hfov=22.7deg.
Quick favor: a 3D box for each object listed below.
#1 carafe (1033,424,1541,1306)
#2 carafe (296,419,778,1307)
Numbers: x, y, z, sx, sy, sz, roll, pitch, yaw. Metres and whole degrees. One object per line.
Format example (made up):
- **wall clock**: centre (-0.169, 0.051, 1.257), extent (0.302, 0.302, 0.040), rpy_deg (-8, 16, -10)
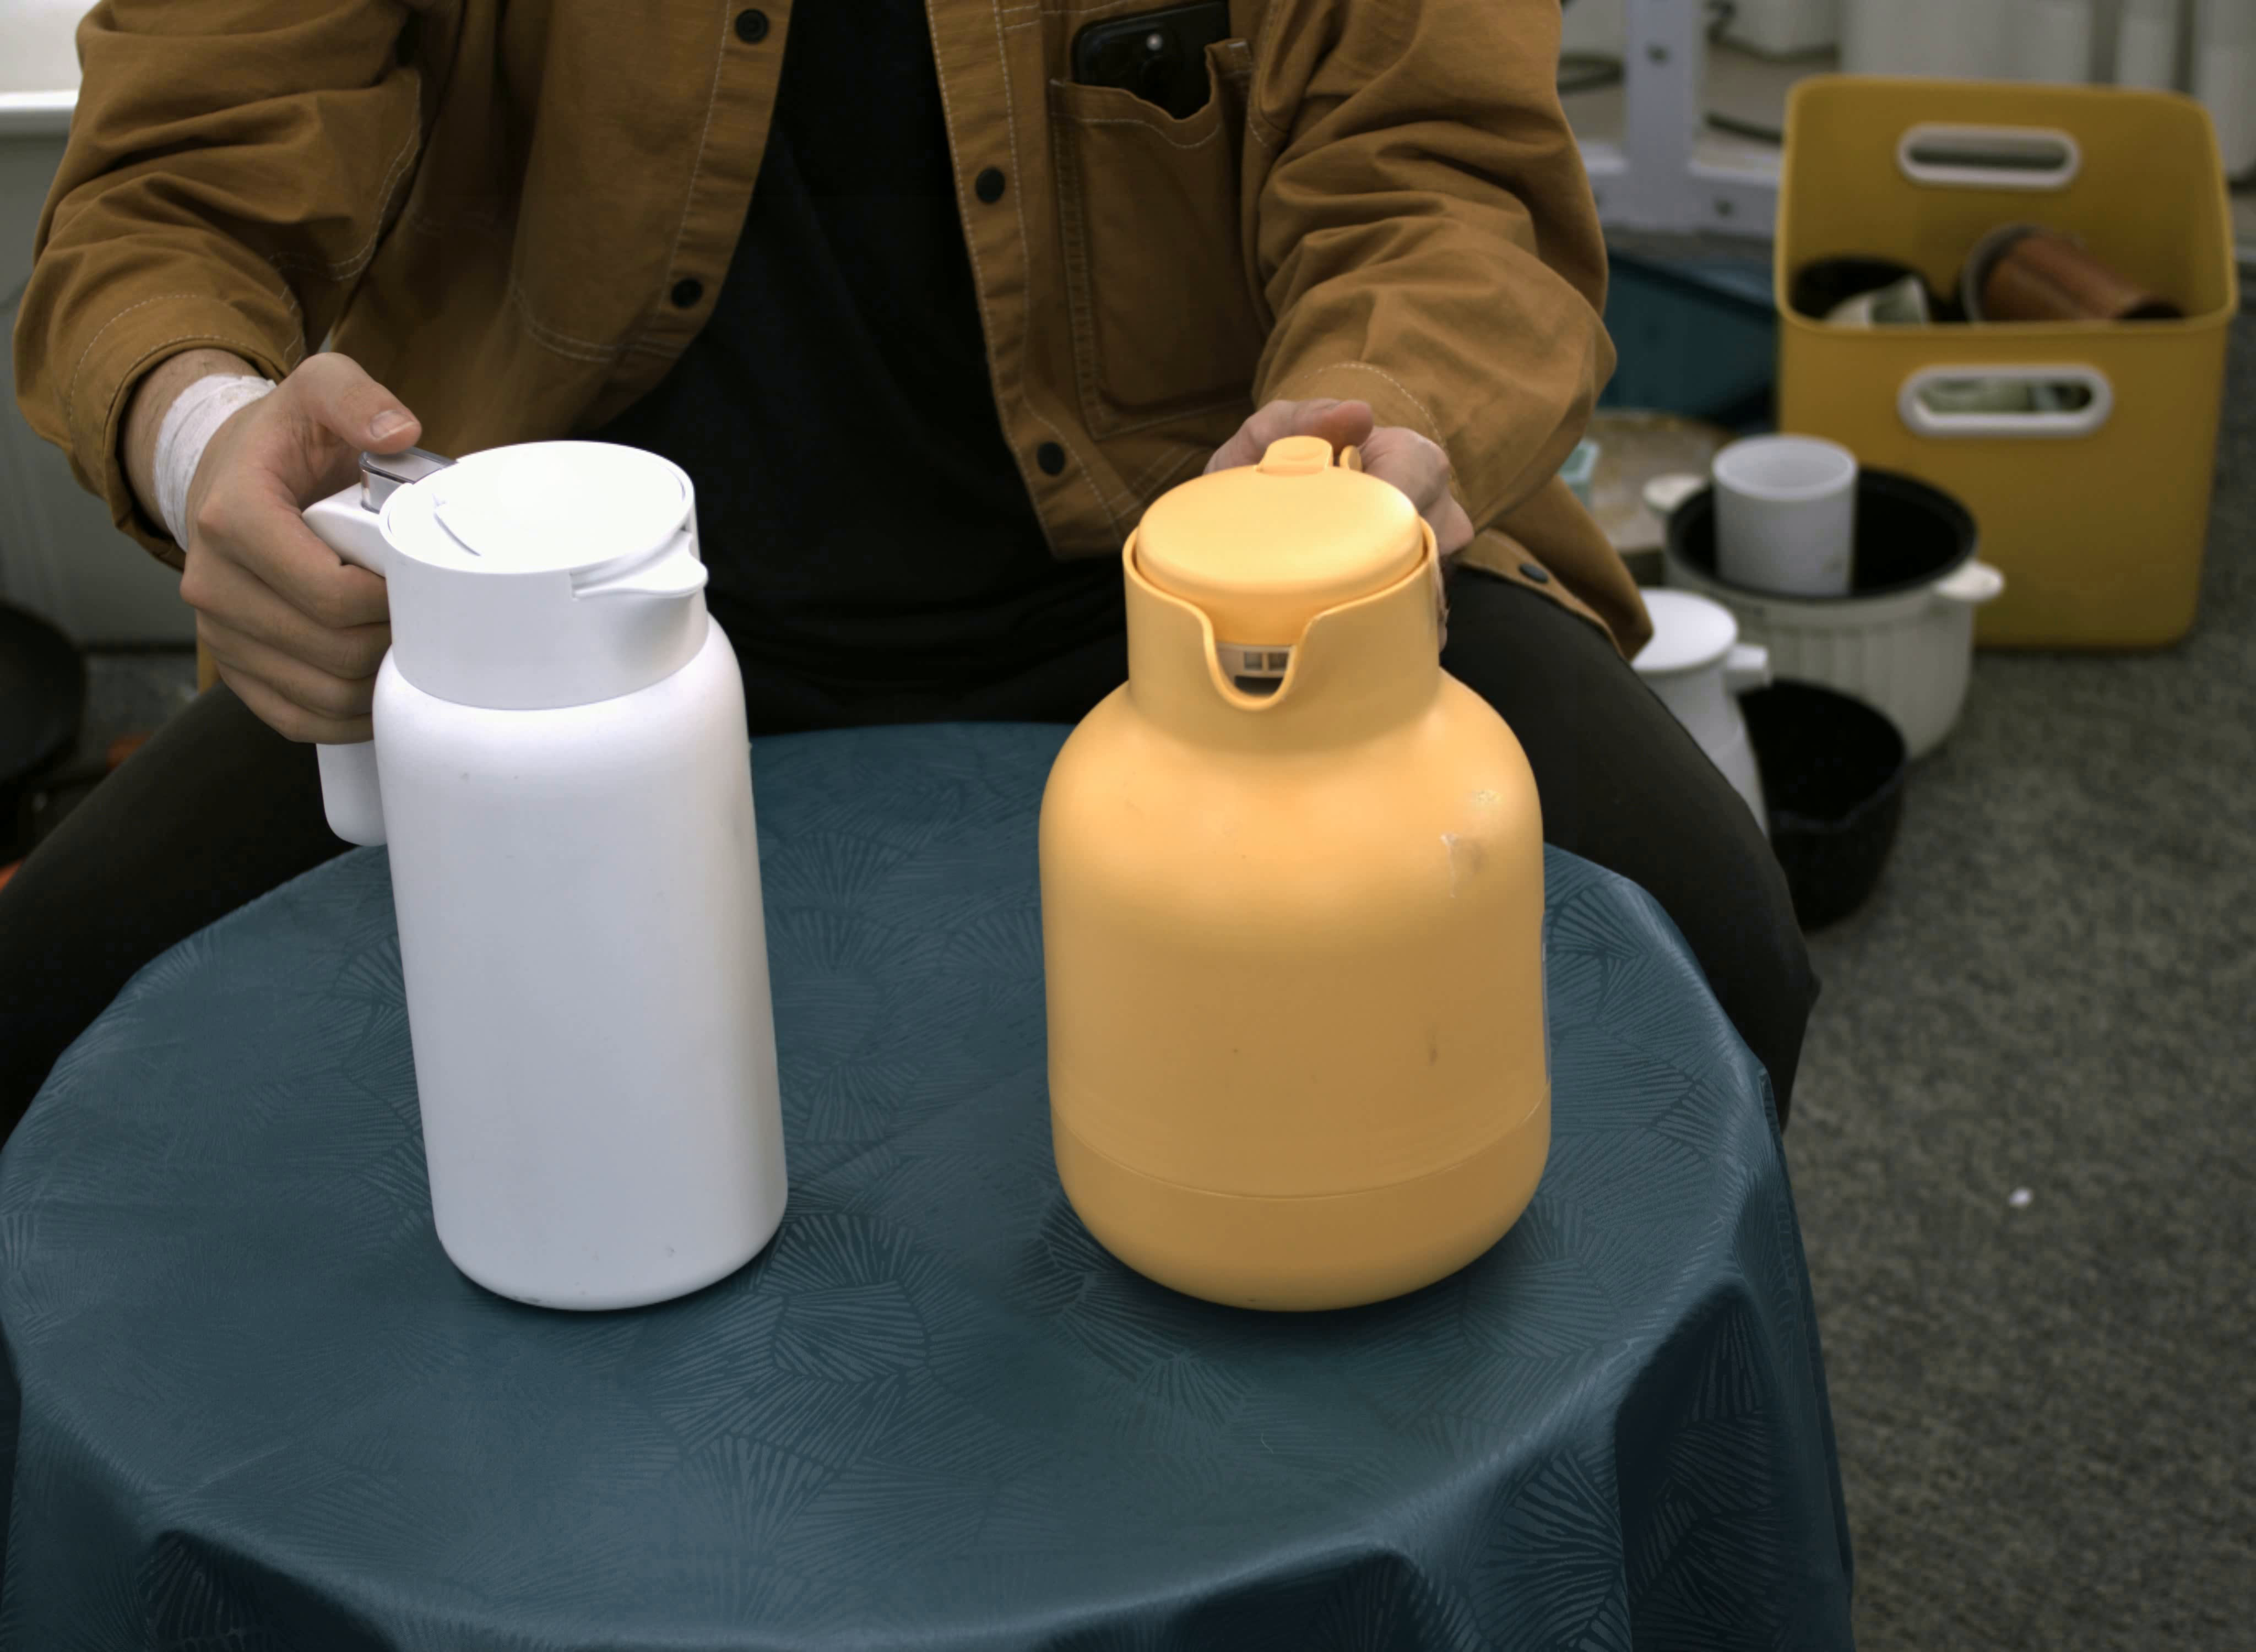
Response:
- **carafe**: centre (0.055, 0.003, 1.800), extent (0.162, 0.257, 0.206), rpy_deg (5, 29, 9)
- **carafe**: centre (-0.192, 0.010, 1.805), extent (0.172, 0.266, 0.125), rpy_deg (18, 35, 35)
